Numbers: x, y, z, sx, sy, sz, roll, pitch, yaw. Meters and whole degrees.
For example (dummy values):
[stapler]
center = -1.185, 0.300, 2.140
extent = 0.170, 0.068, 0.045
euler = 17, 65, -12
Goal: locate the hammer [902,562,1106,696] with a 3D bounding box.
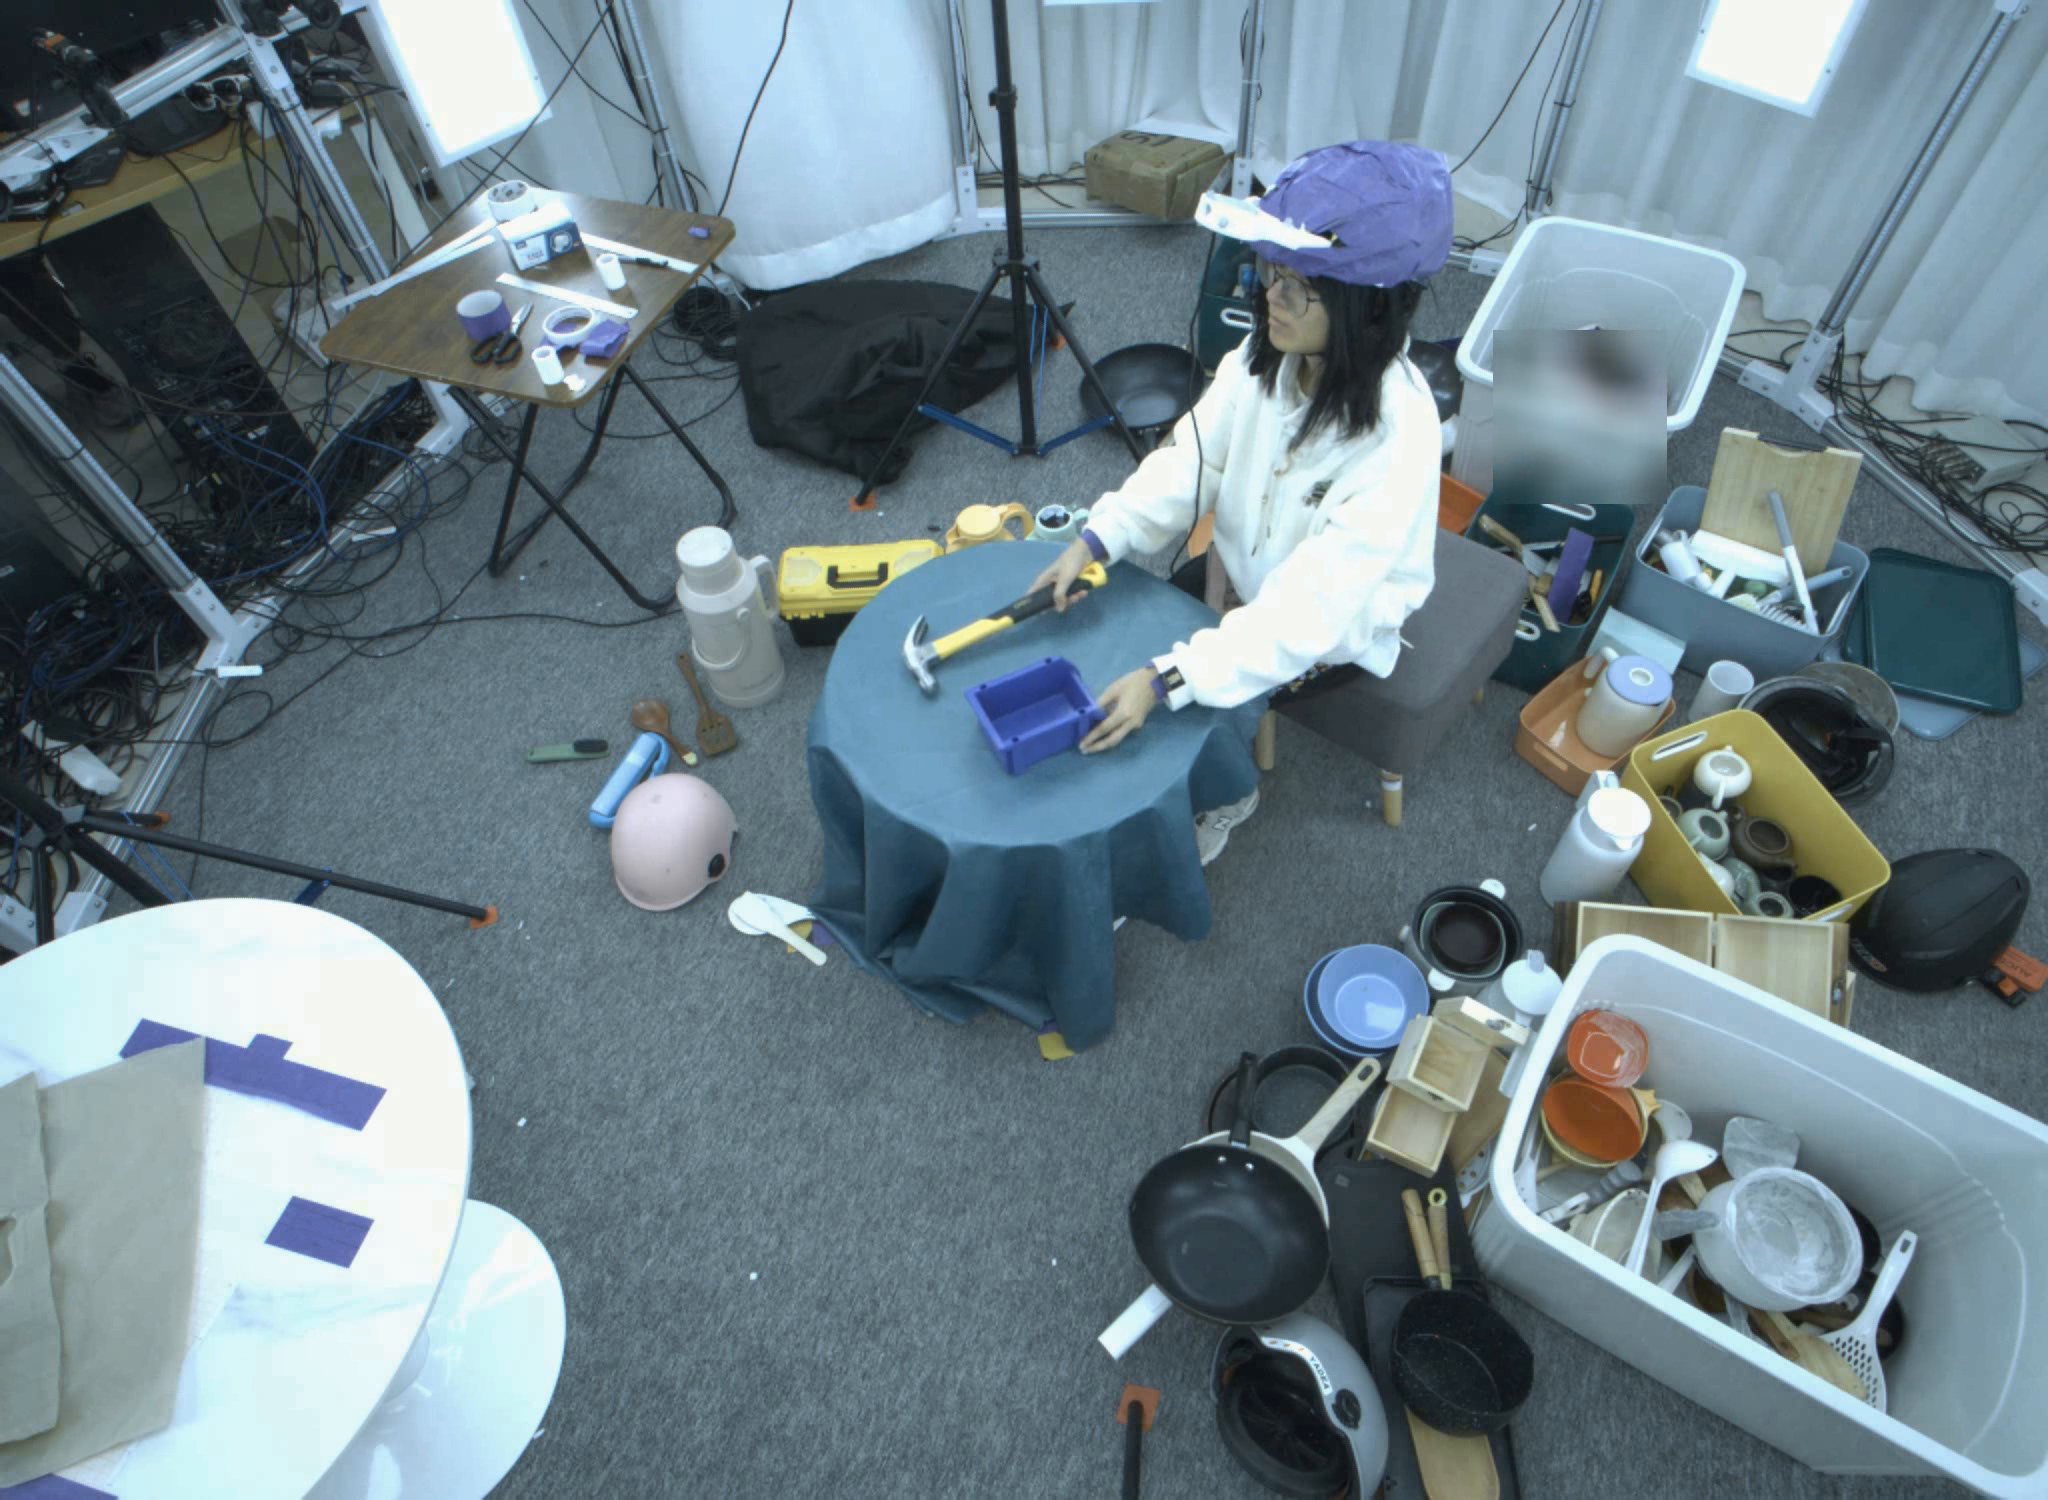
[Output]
[hammer]
center = -0.030, -0.204, 1.885
extent = 0.339, 0.033, 0.129
euler = -26, 55, -5

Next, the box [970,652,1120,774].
[box]
center = 0.030, -0.057, 1.778
extent = 0.180, 0.083, 0.122
euler = -24, 57, -11
